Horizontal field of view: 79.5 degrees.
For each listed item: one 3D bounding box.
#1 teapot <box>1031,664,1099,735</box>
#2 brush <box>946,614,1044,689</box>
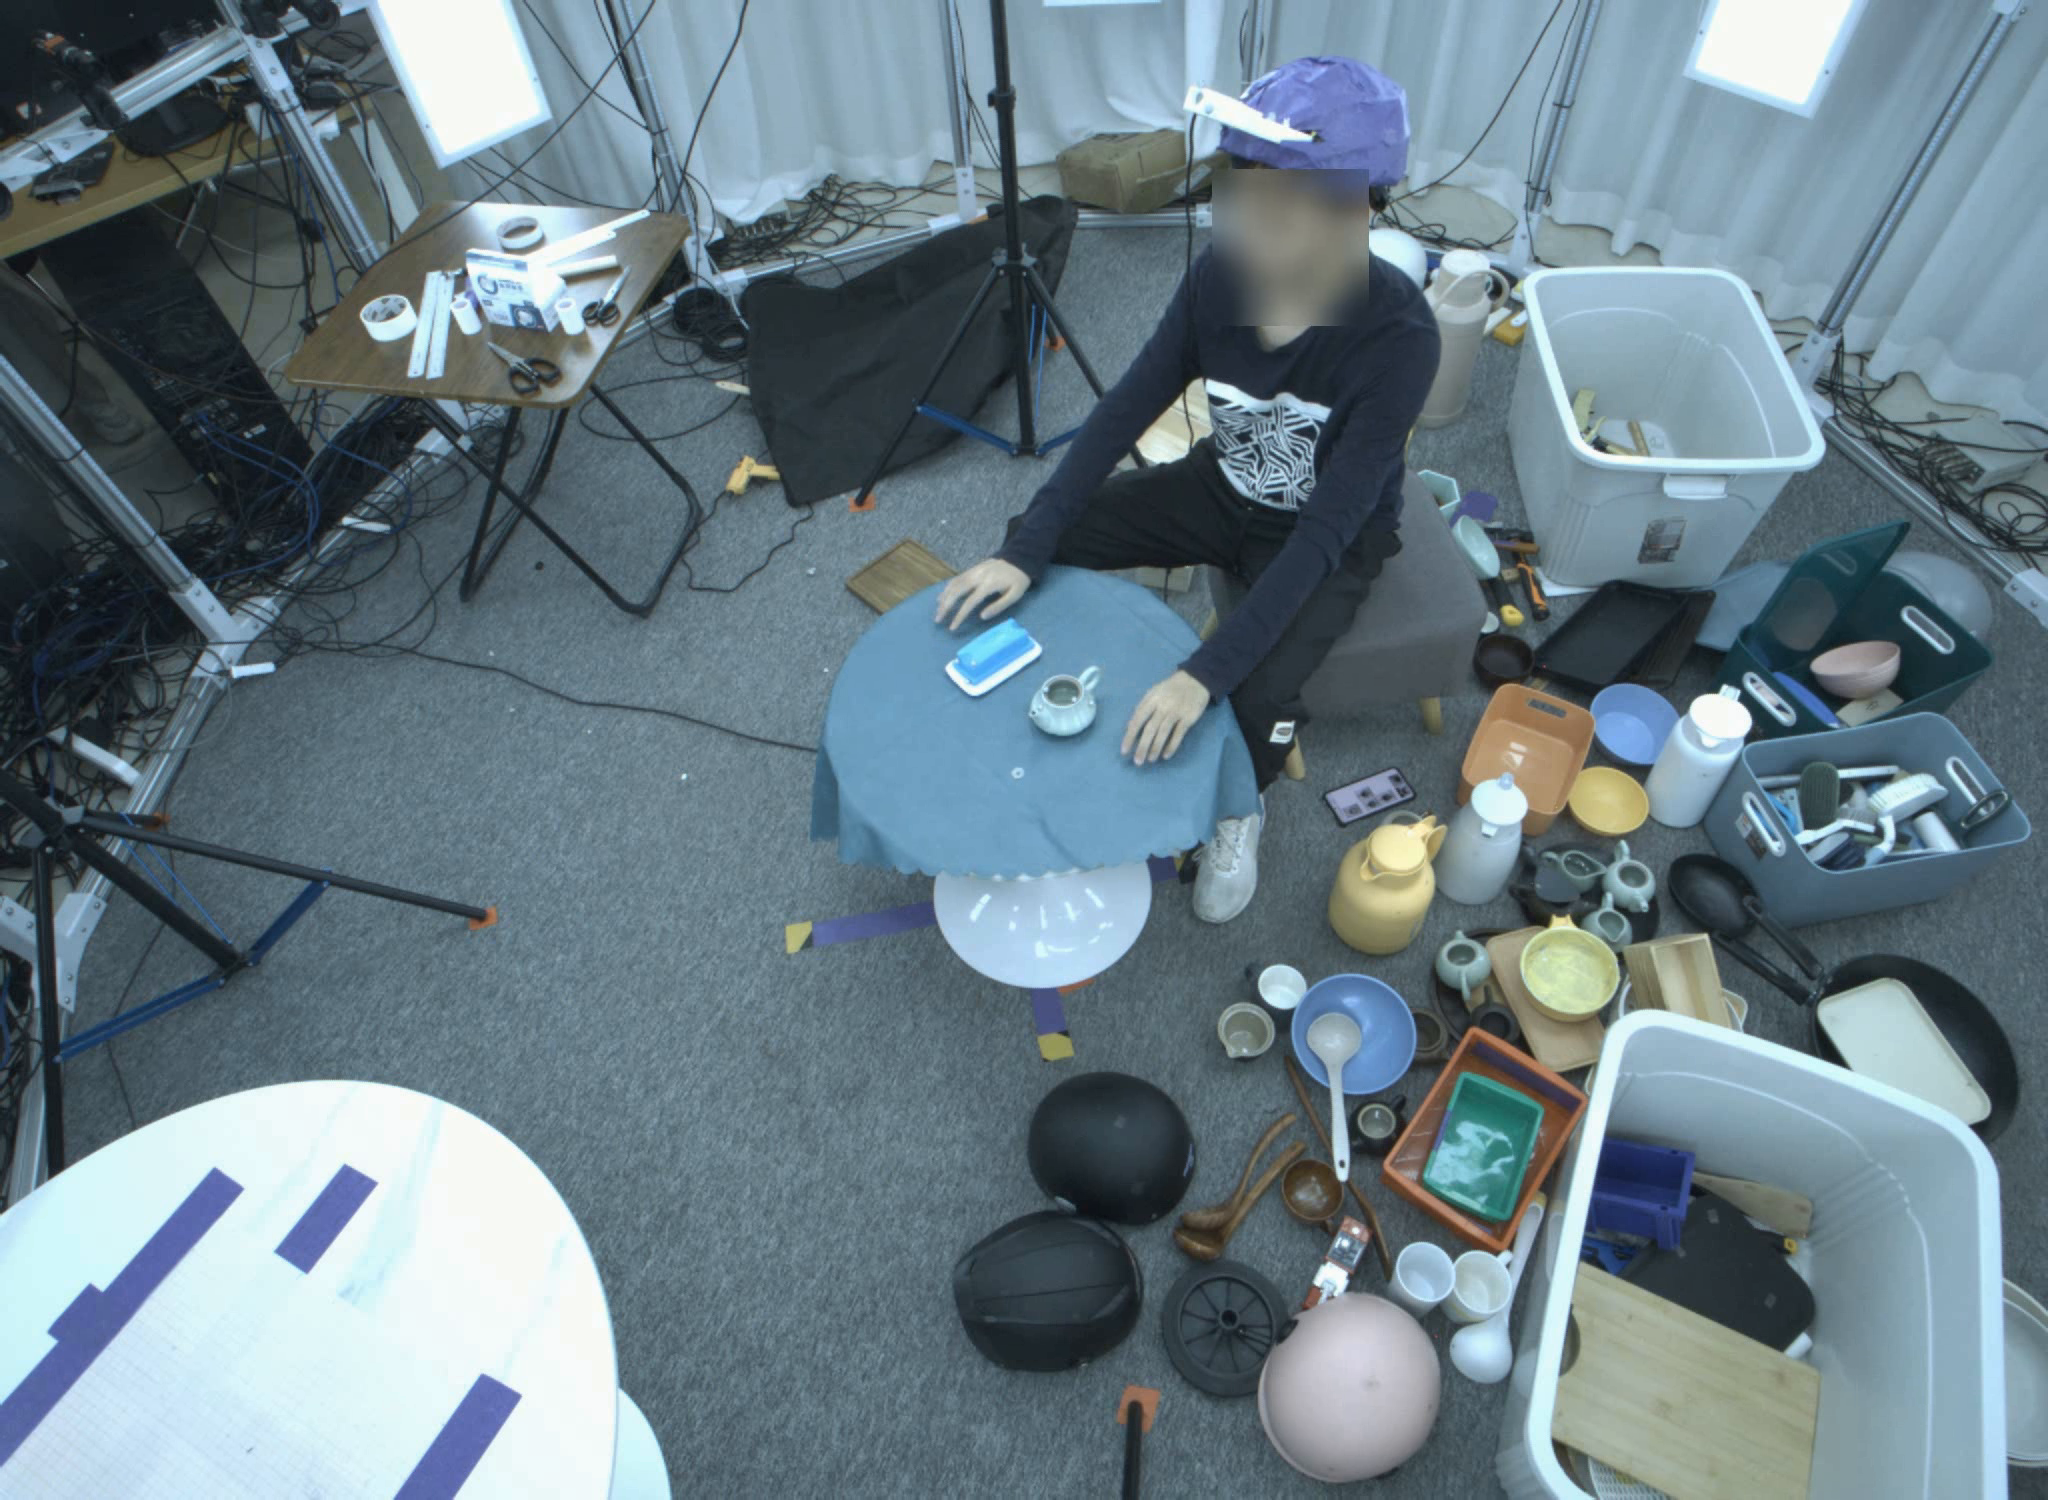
[{"bbox_3d":[0.061,-0.073,1.793,0.138,0.062,0.094,-40,61,-22],"label":"teapot"},{"bbox_3d":[-0.044,-0.157,1.855,0.145,0.056,0.082,-35,63,-17],"label":"brush"}]
